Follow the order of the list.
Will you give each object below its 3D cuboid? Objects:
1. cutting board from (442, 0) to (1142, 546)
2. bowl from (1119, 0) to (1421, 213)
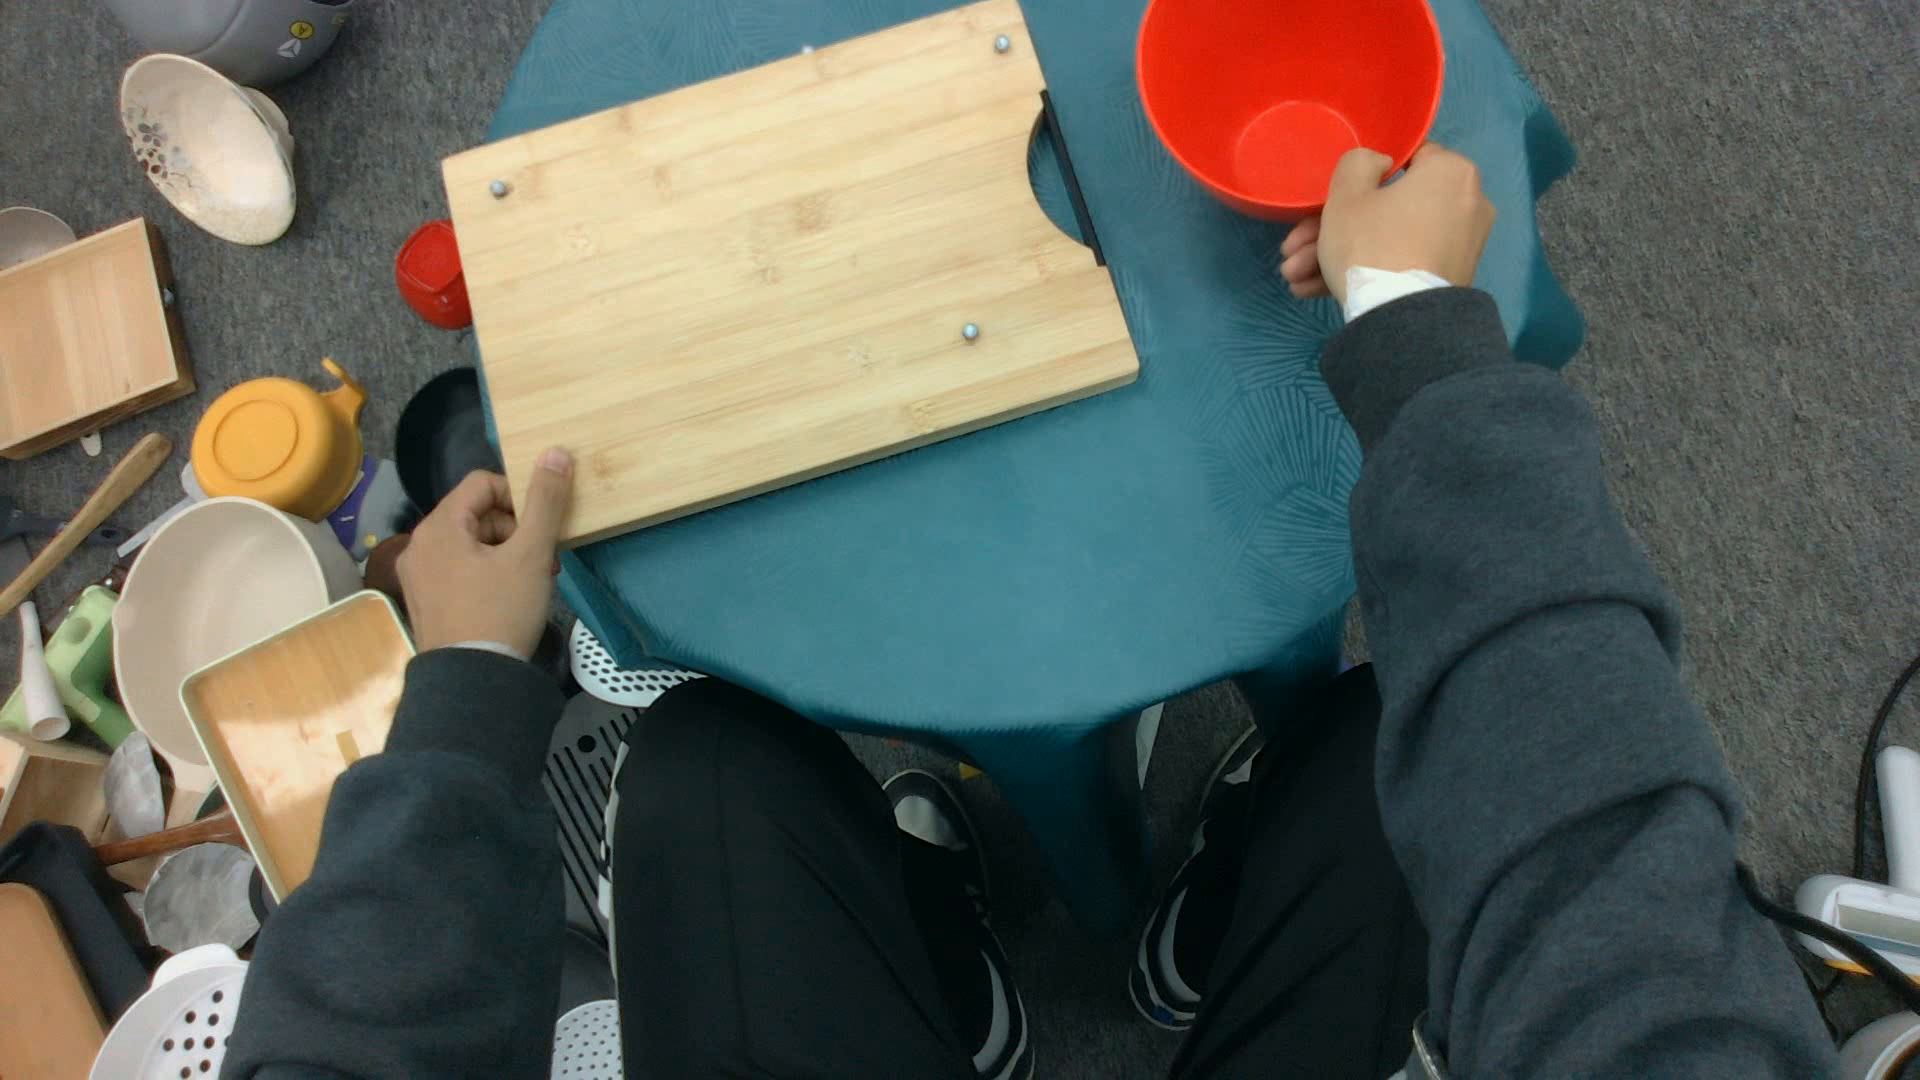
[{"bbox_3d":[-0.102,-0.157,0.764,0.349,0.023,0.251,-17,76,-1],"label":"cutting board"},{"bbox_3d":[0.159,-0.231,0.716,0.148,0.104,0.148,-2,74,8],"label":"bowl"}]
